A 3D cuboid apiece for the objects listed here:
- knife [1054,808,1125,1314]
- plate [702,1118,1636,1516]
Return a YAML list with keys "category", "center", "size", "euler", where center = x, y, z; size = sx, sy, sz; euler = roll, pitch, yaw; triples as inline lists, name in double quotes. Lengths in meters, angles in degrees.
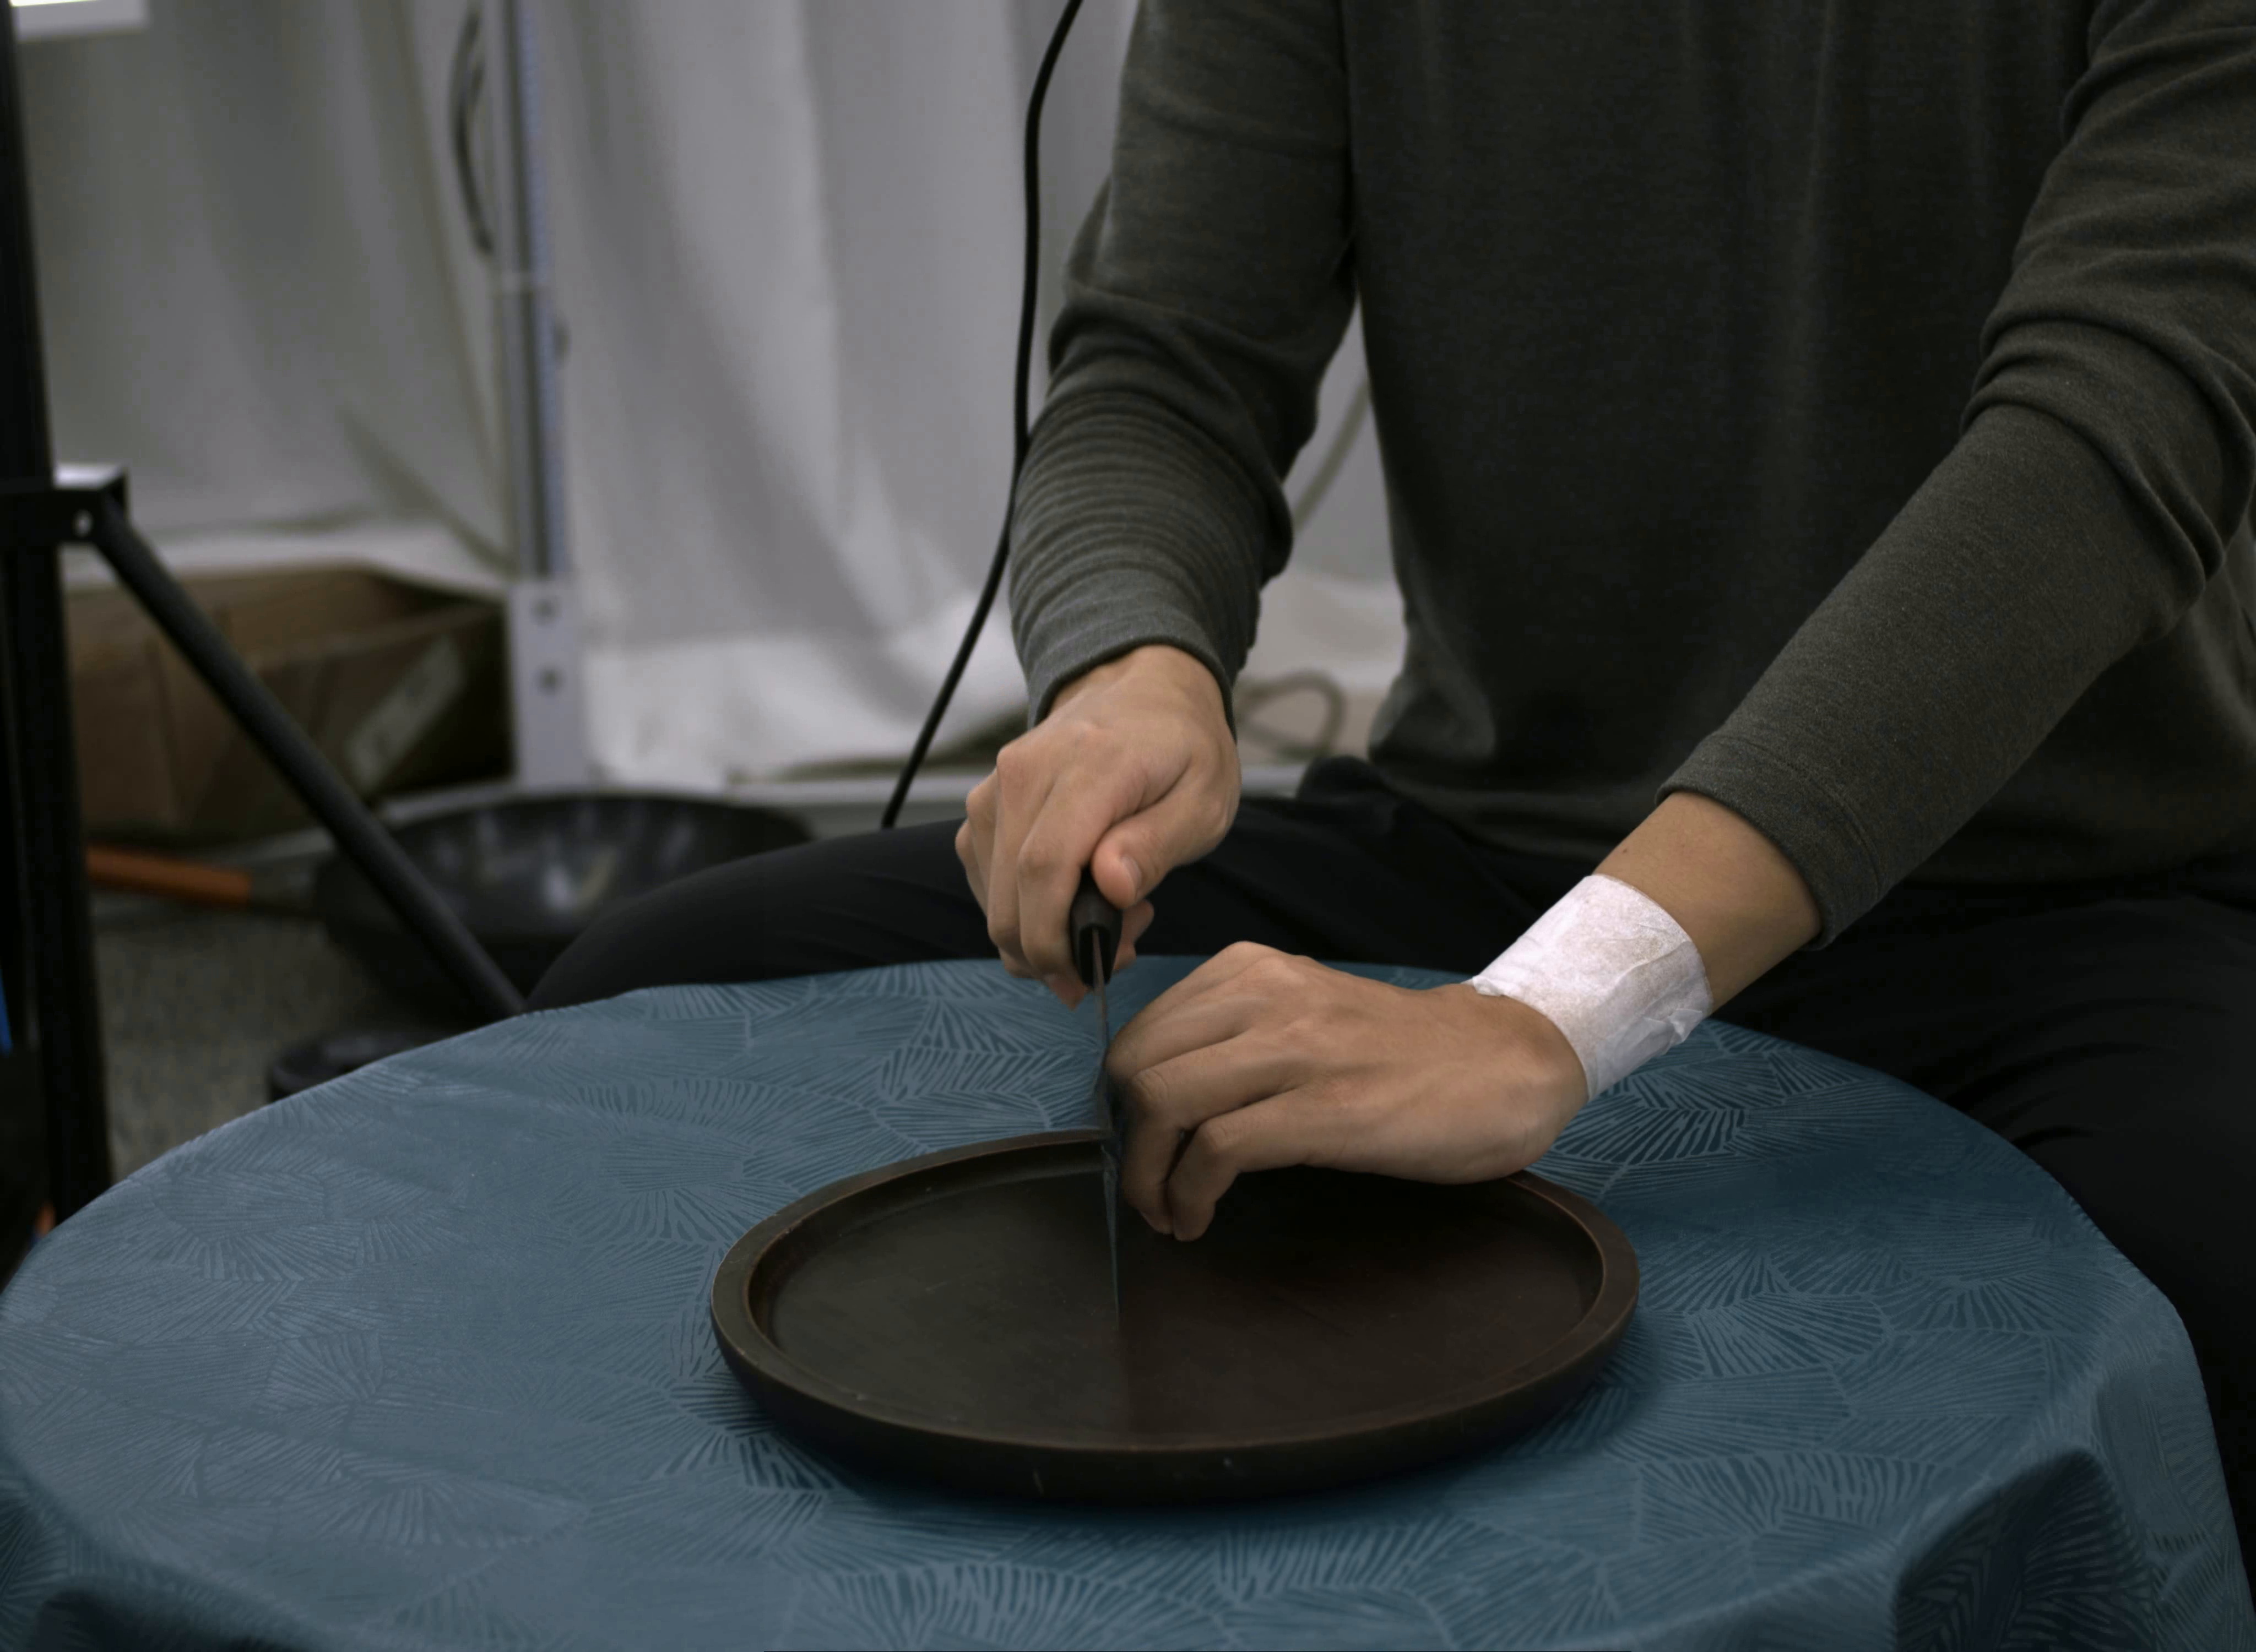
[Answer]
- category: "knife"
  center: [-0.007, 0.057, 1.497]
  size: [0.021, 0.081, 0.304]
  euler: [0, 19, -2]
- category: "plate"
  center: [0.012, 0.130, 1.440]
  size: [0.253, 0.029, 0.256]
  euler: [-4, 16, 0]
